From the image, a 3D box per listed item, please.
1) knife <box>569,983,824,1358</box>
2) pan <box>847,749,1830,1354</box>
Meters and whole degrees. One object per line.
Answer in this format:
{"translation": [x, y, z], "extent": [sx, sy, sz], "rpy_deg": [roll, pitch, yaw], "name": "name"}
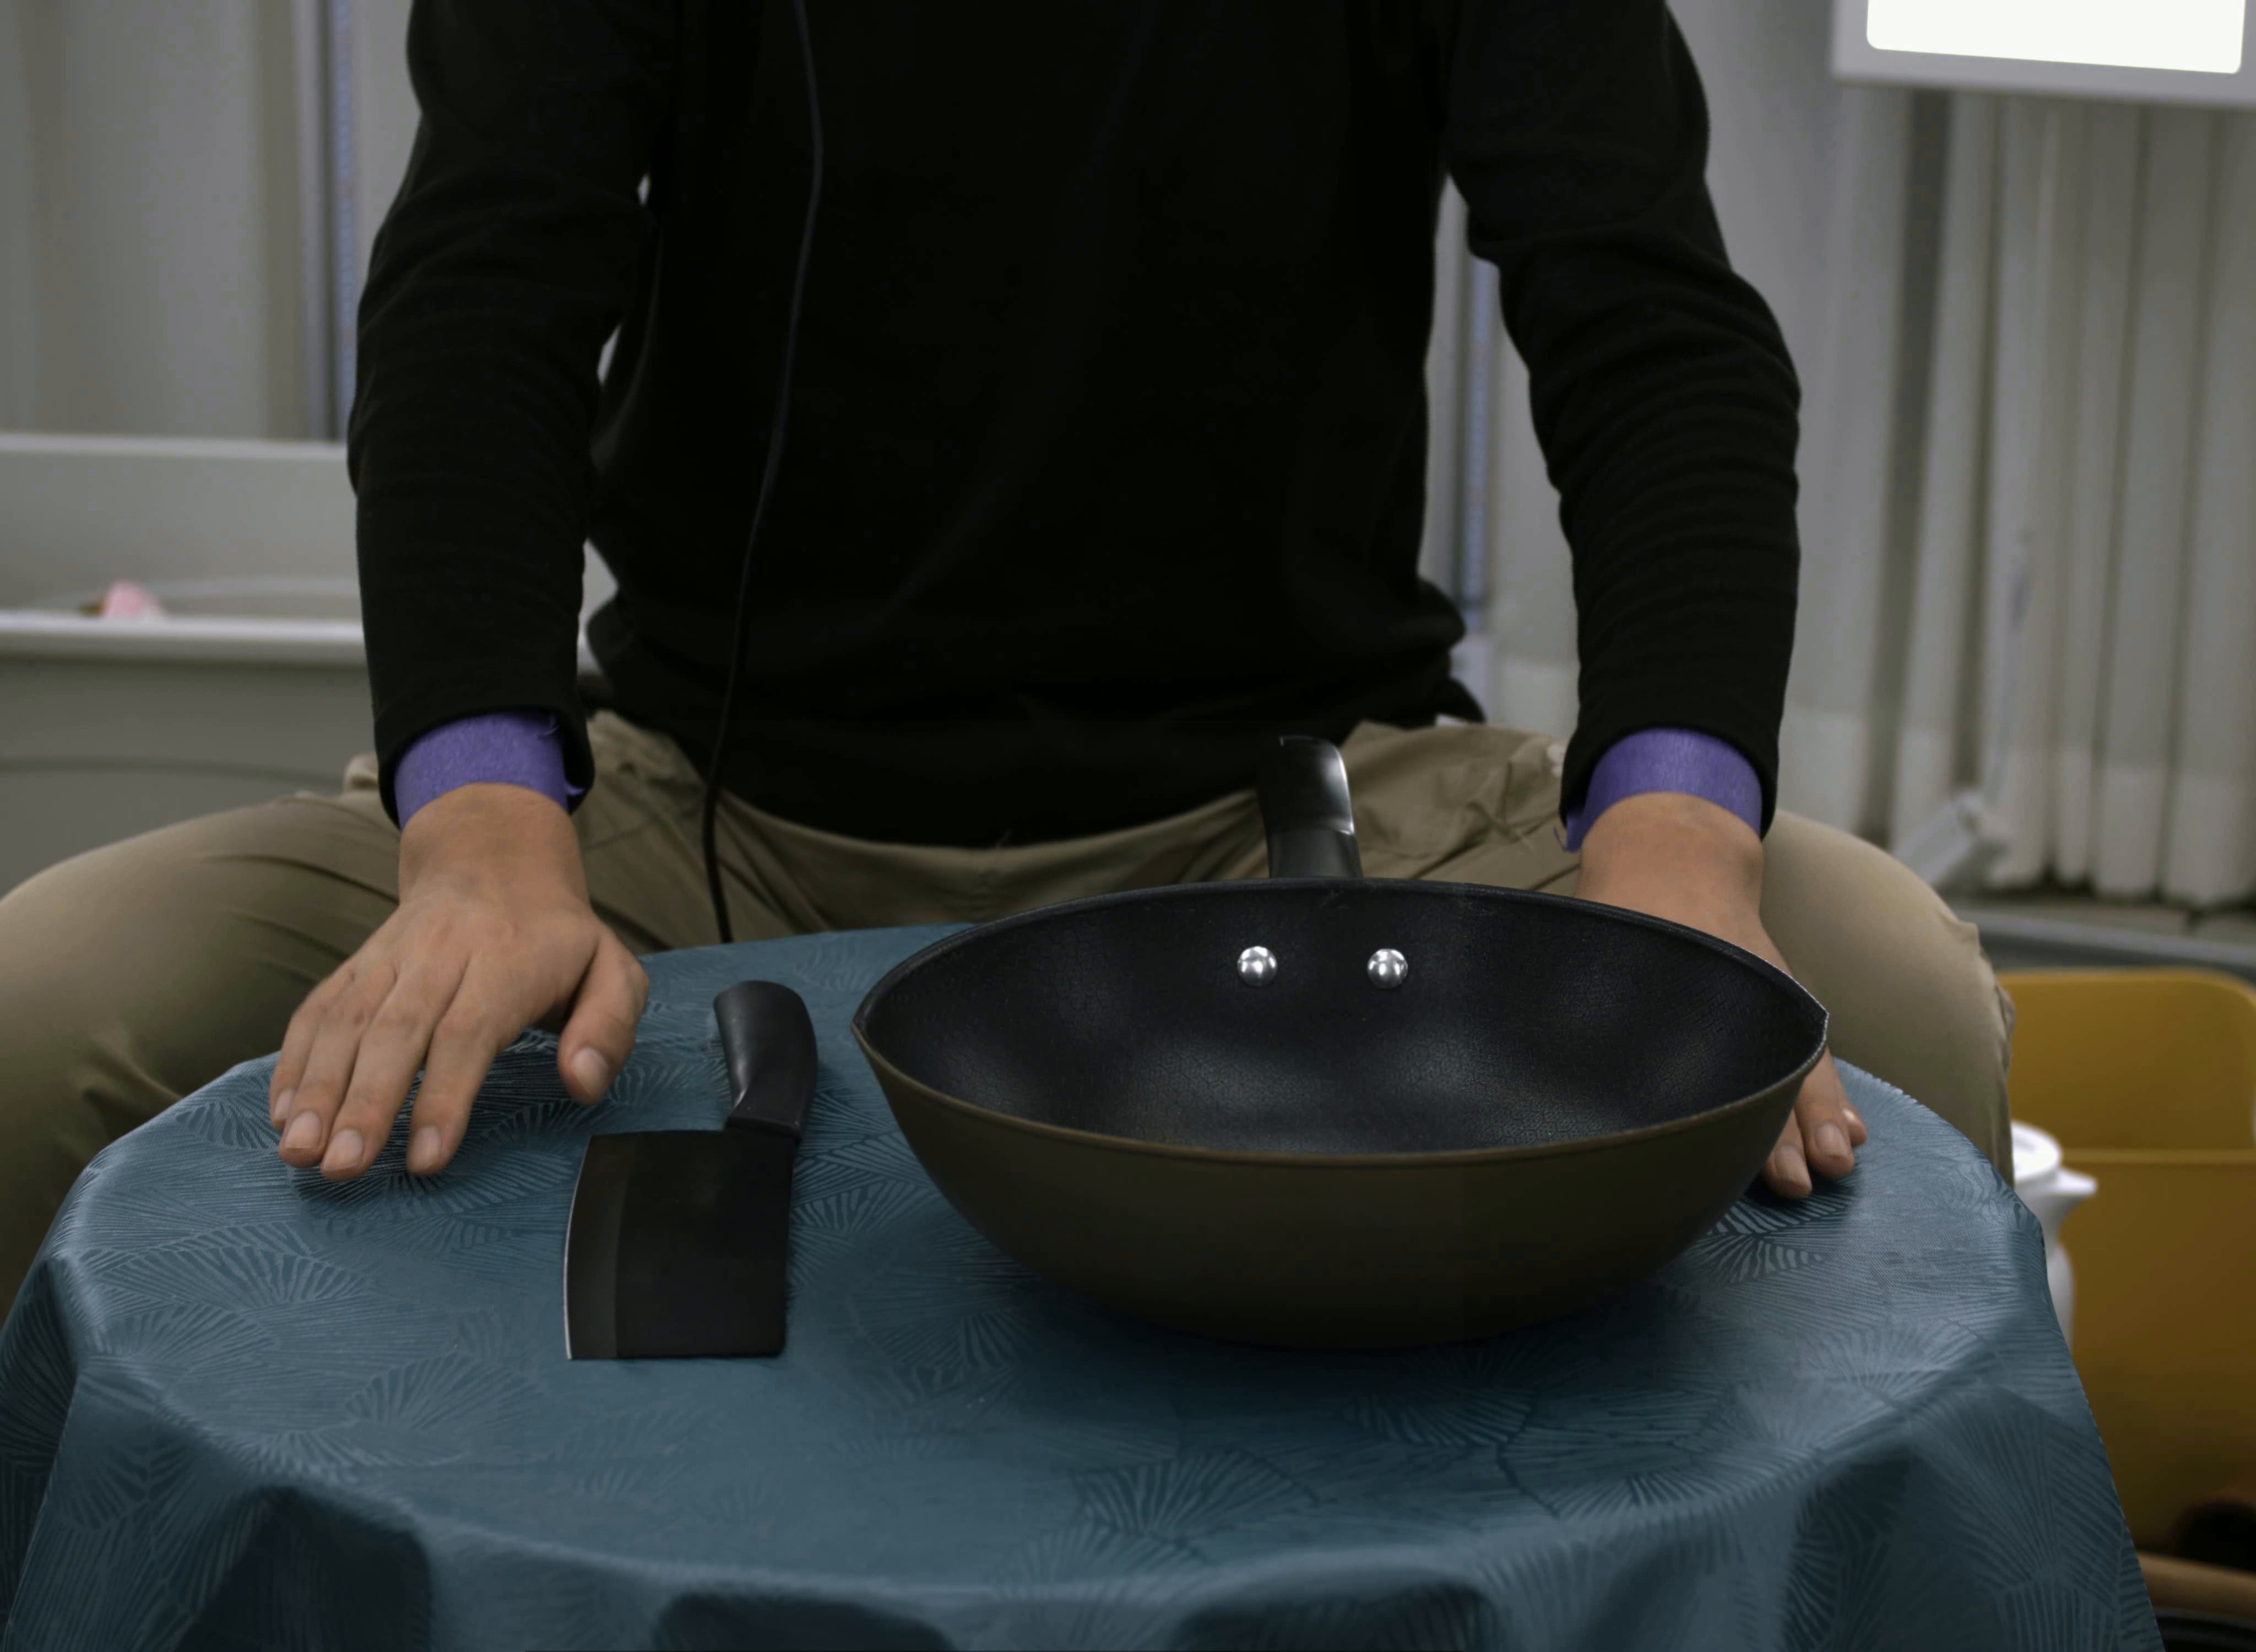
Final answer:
{"translation": [-0.130, 0.105, 1.621], "extent": [0.080, 0.021, 0.301], "rpy_deg": [0, 17, 3], "name": "knife"}
{"translation": [0.061, 0.067, 1.634], "extent": [0.287, 0.087, 0.461], "rpy_deg": [0, 15, 0], "name": "pan"}
